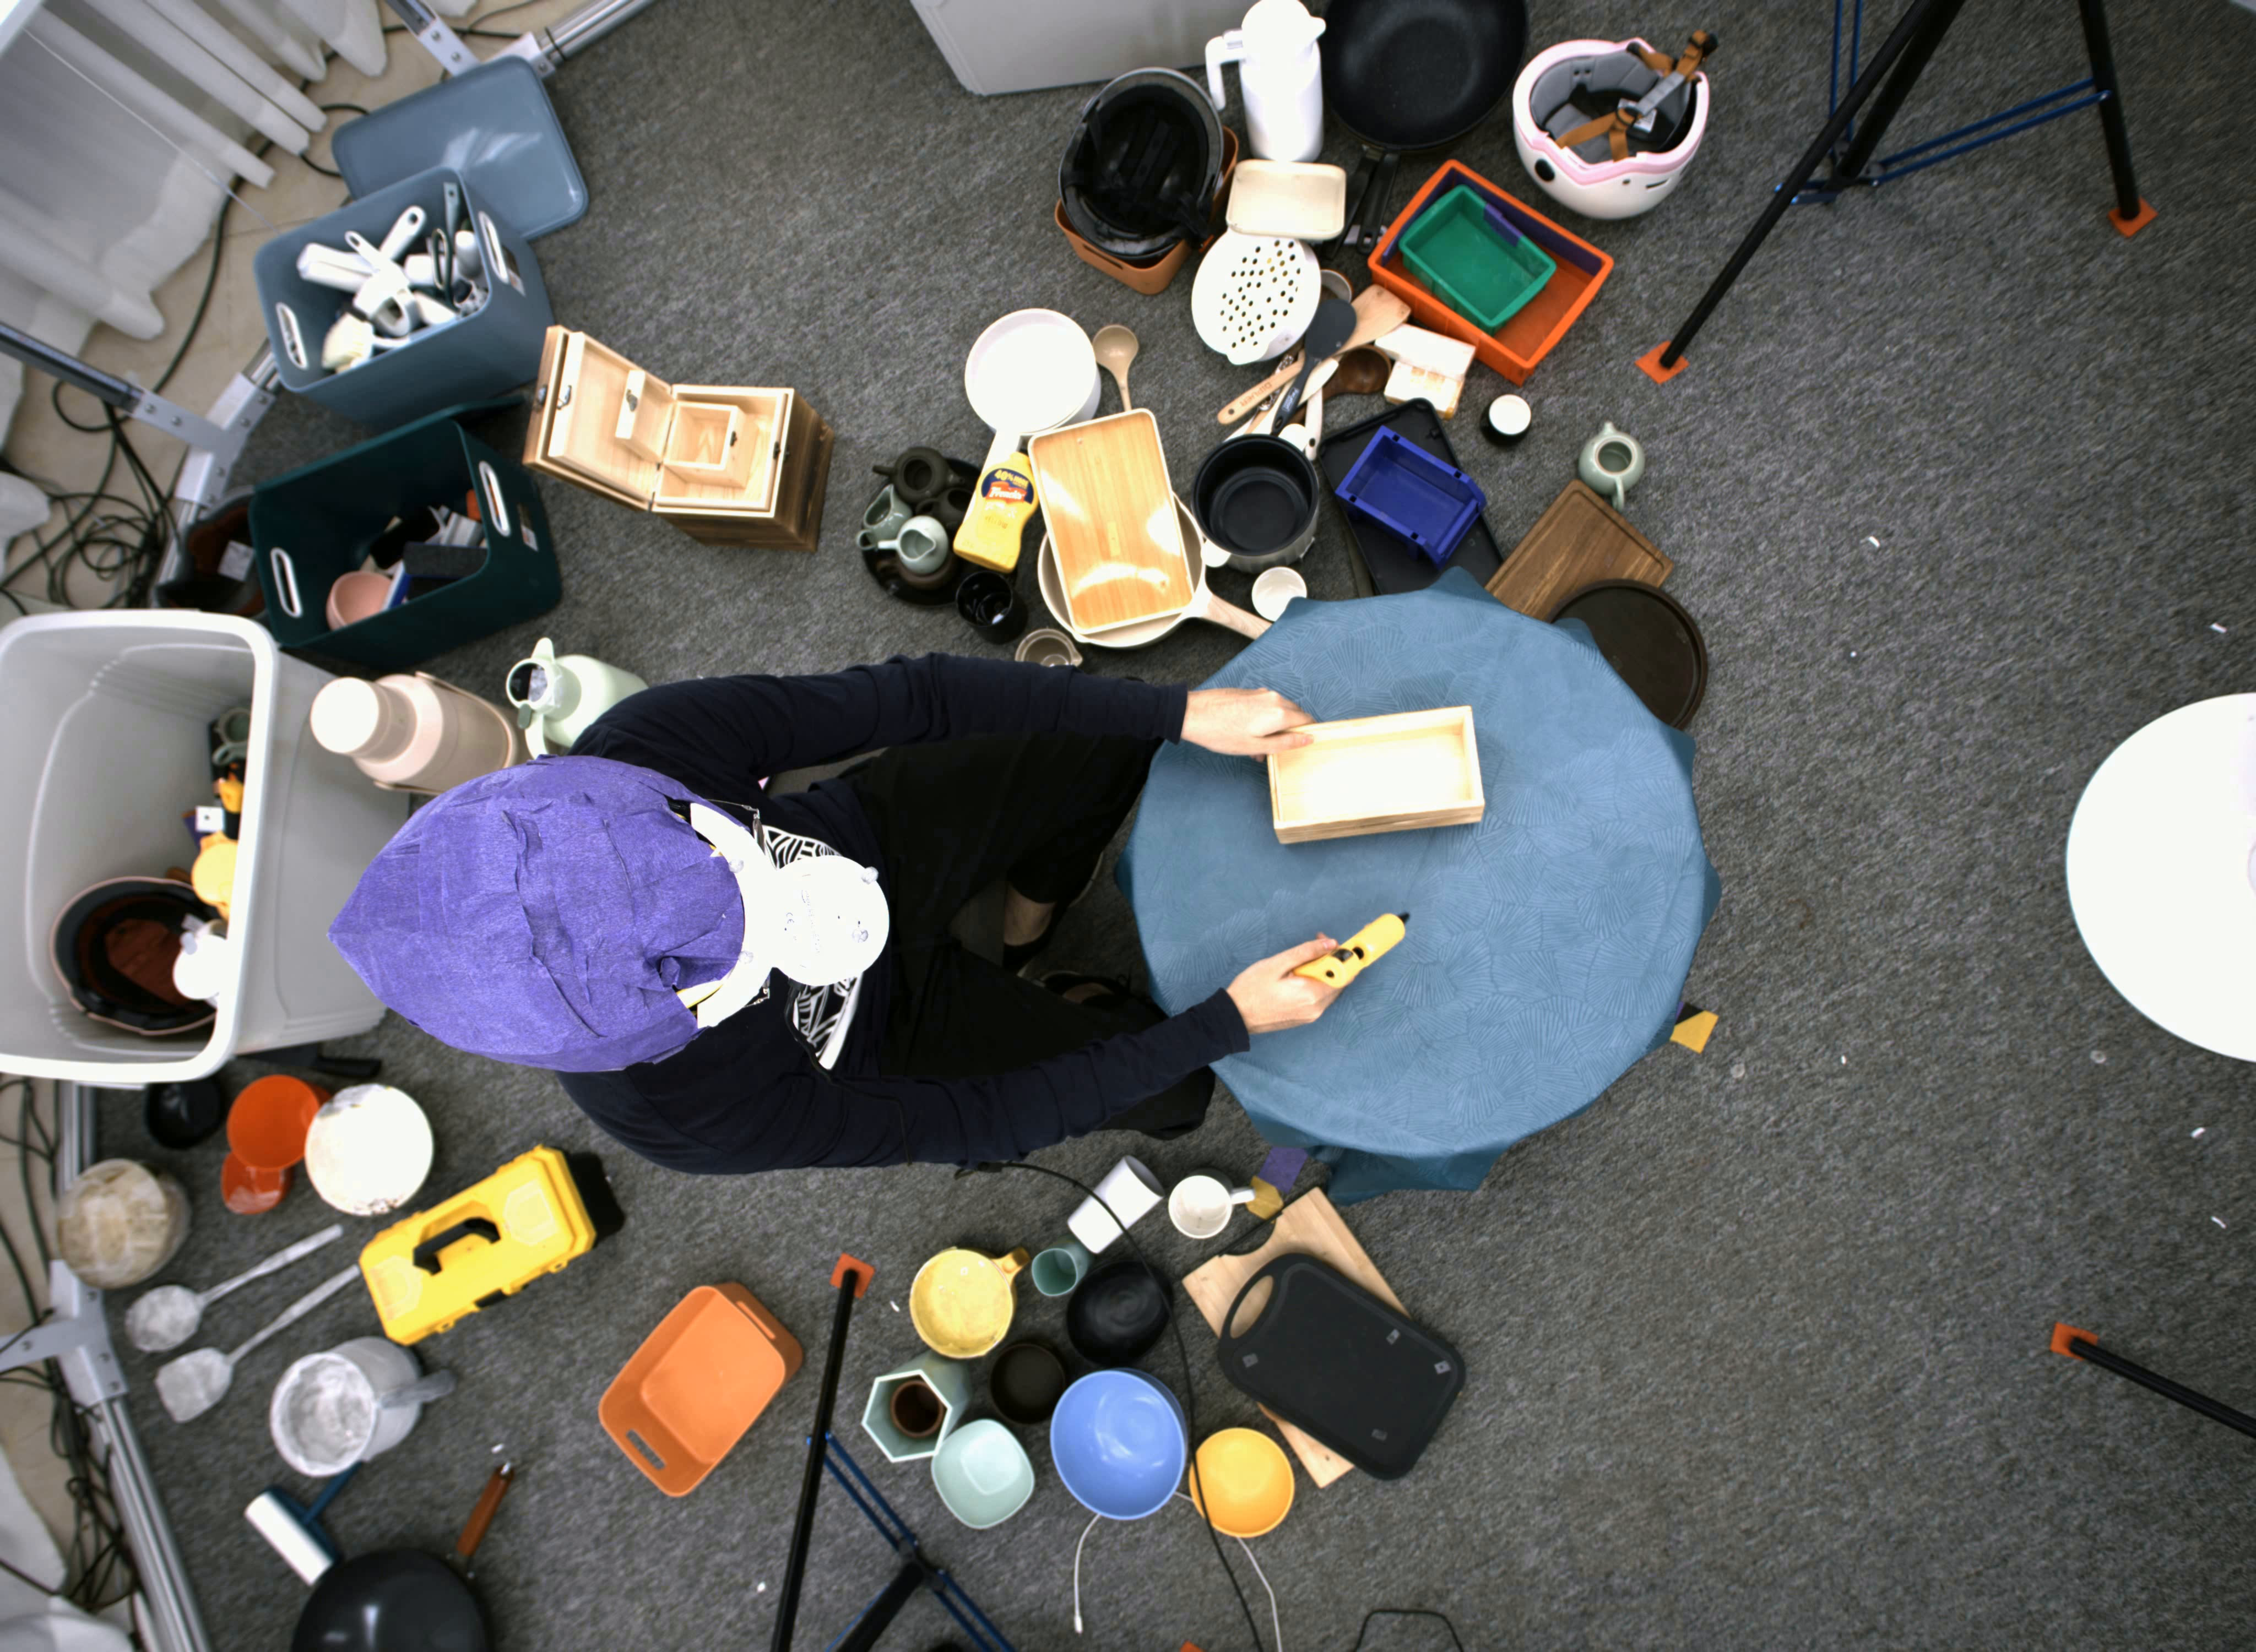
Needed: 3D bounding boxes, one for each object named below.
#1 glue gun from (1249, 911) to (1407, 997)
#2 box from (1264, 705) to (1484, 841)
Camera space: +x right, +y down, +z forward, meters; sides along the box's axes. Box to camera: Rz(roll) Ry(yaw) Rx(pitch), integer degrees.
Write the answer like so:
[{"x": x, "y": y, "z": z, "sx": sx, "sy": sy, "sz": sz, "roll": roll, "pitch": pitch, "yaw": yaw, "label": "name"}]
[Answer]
[{"x": 0.211, "y": 0.124, "z": 1.397, "sx": 0.135, "sy": 0.148, "sz": 0.031, "roll": -21, "pitch": 96, "yaw": 52, "label": "glue gun"}, {"x": 0.253, "y": -0.054, "z": 1.424, "sx": 0.212, "sy": 0.081, "sz": 0.106, "roll": -6, "pitch": 77, "yaw": 9, "label": "box"}]
